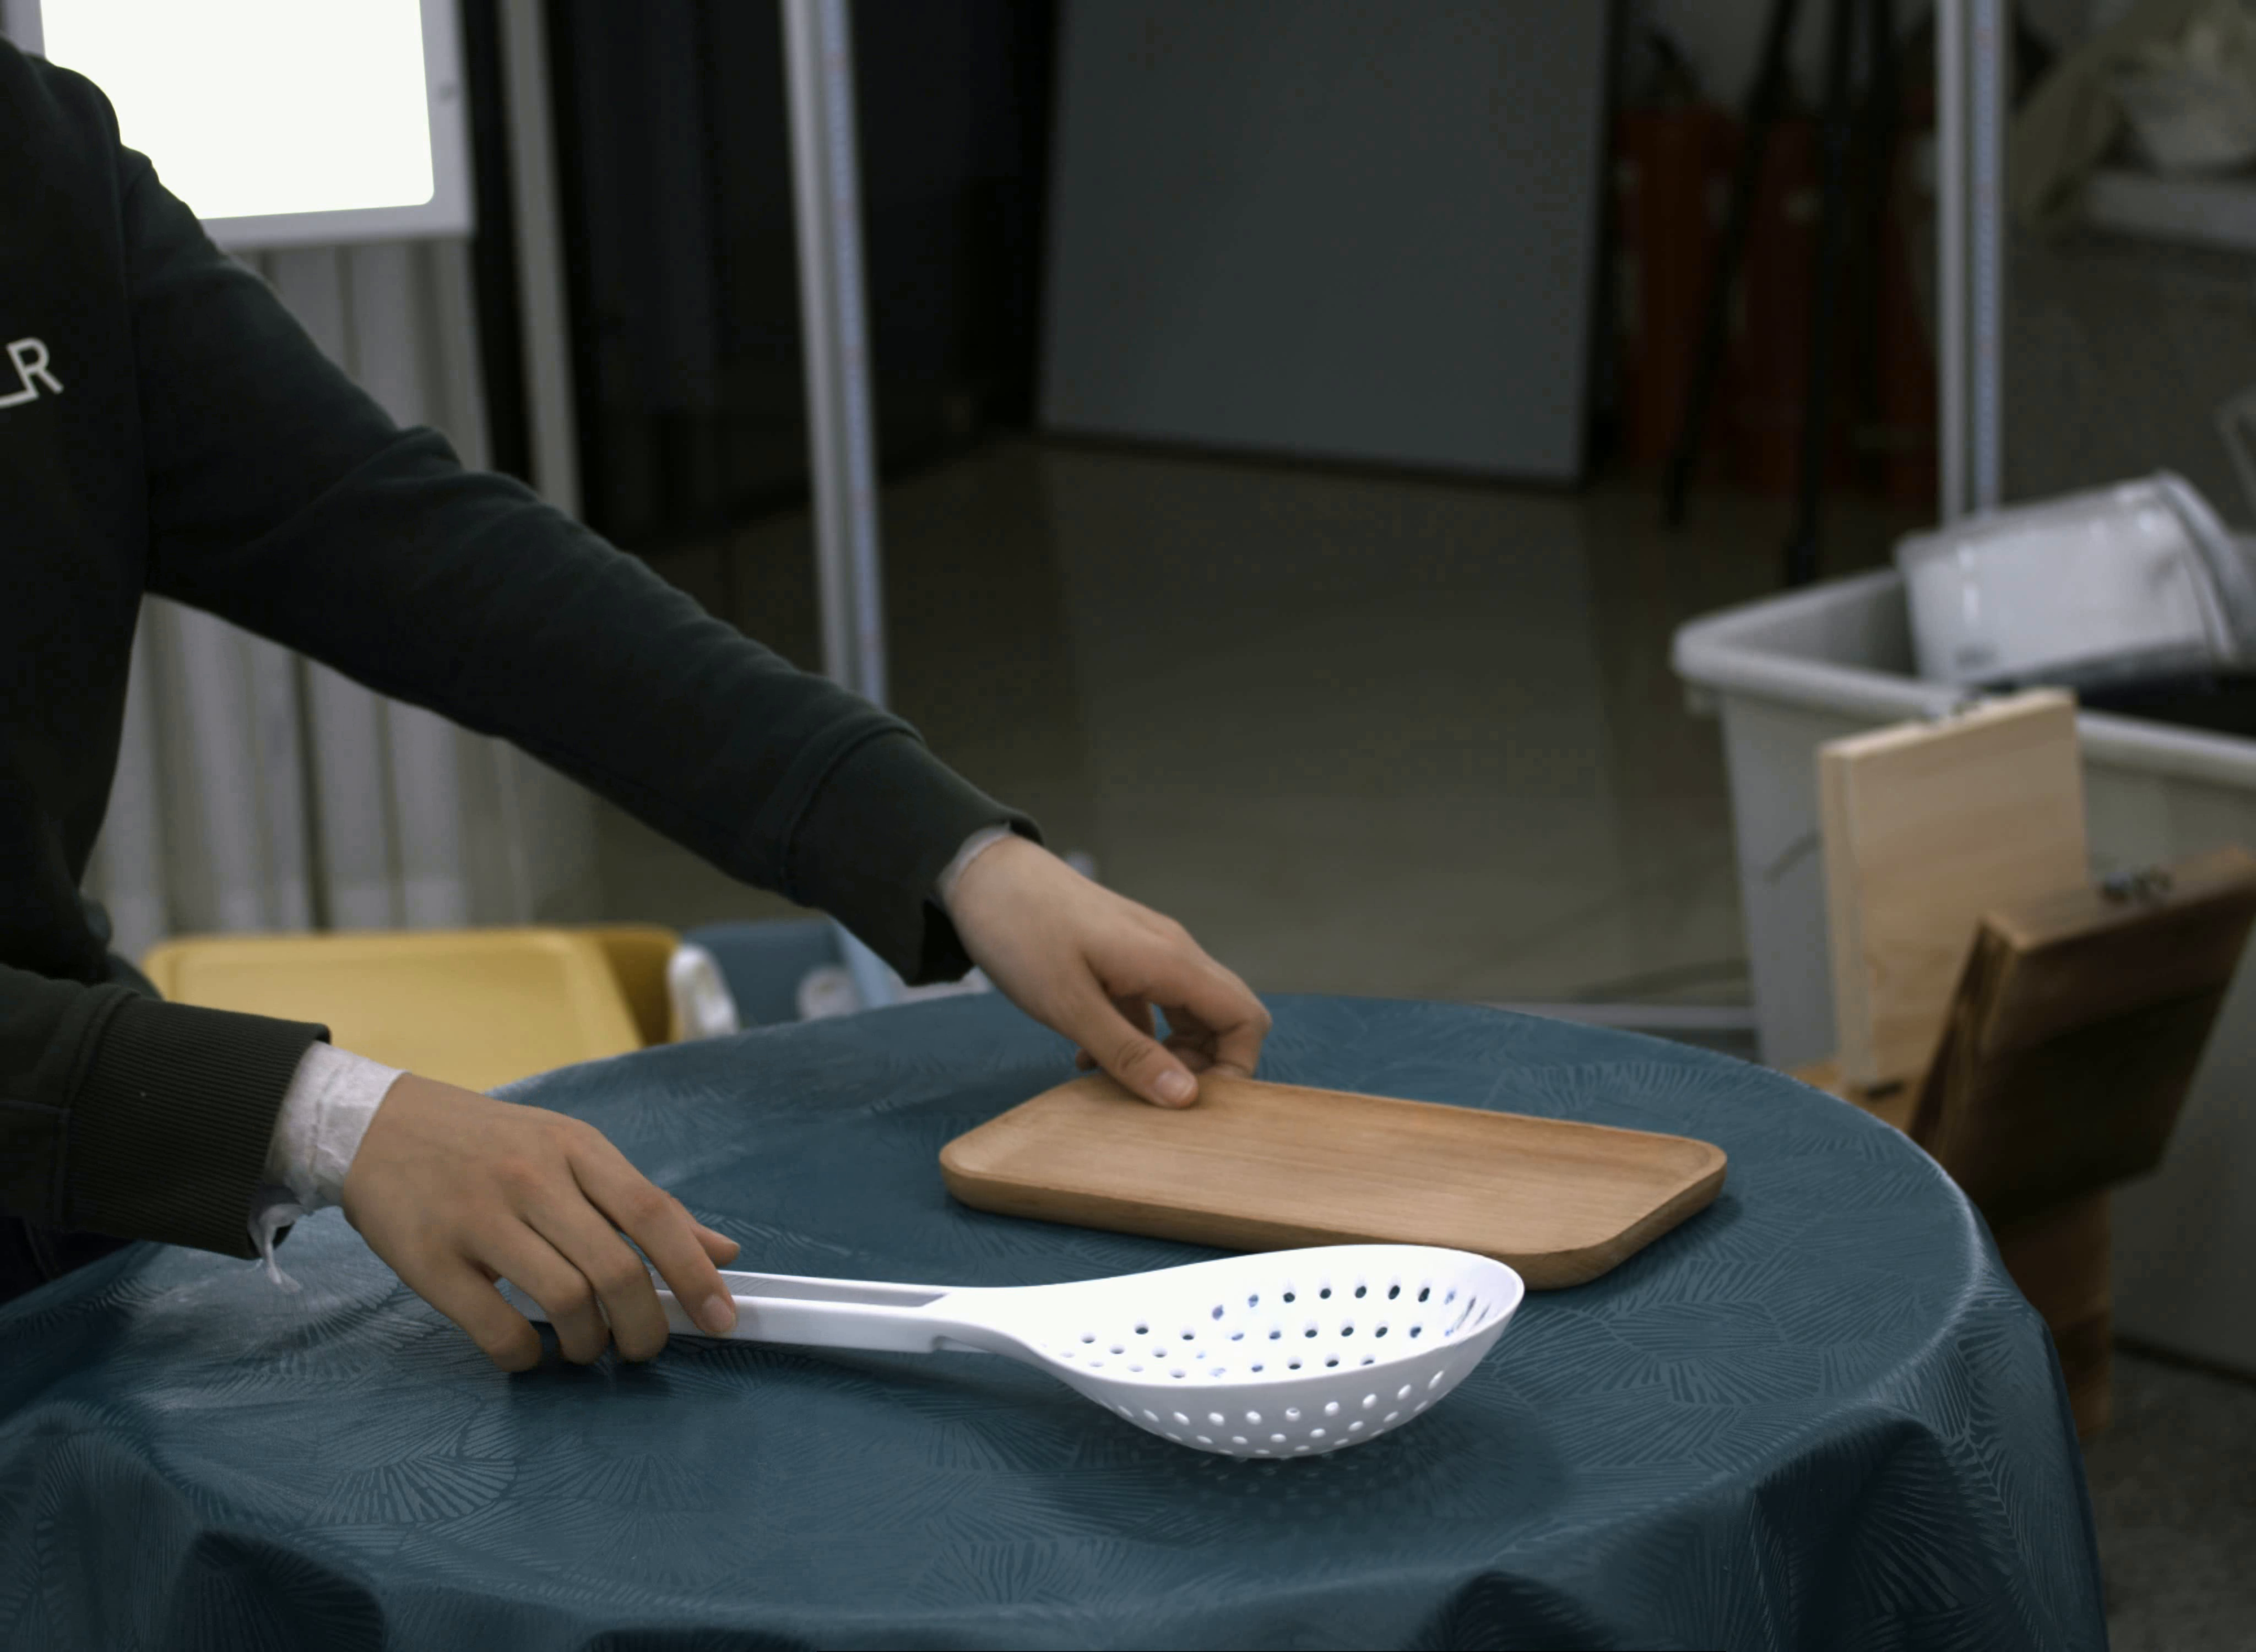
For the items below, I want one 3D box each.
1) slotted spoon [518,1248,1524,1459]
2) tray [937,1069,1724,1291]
[{"bbox_3d":[-0.042,0.146,1.589,0.352,0.046,0.133,5,14,35],"label":"slotted spoon"},{"bbox_3d":[0.064,0.113,1.749,0.252,0.023,0.128,4,14,34],"label":"tray"}]
